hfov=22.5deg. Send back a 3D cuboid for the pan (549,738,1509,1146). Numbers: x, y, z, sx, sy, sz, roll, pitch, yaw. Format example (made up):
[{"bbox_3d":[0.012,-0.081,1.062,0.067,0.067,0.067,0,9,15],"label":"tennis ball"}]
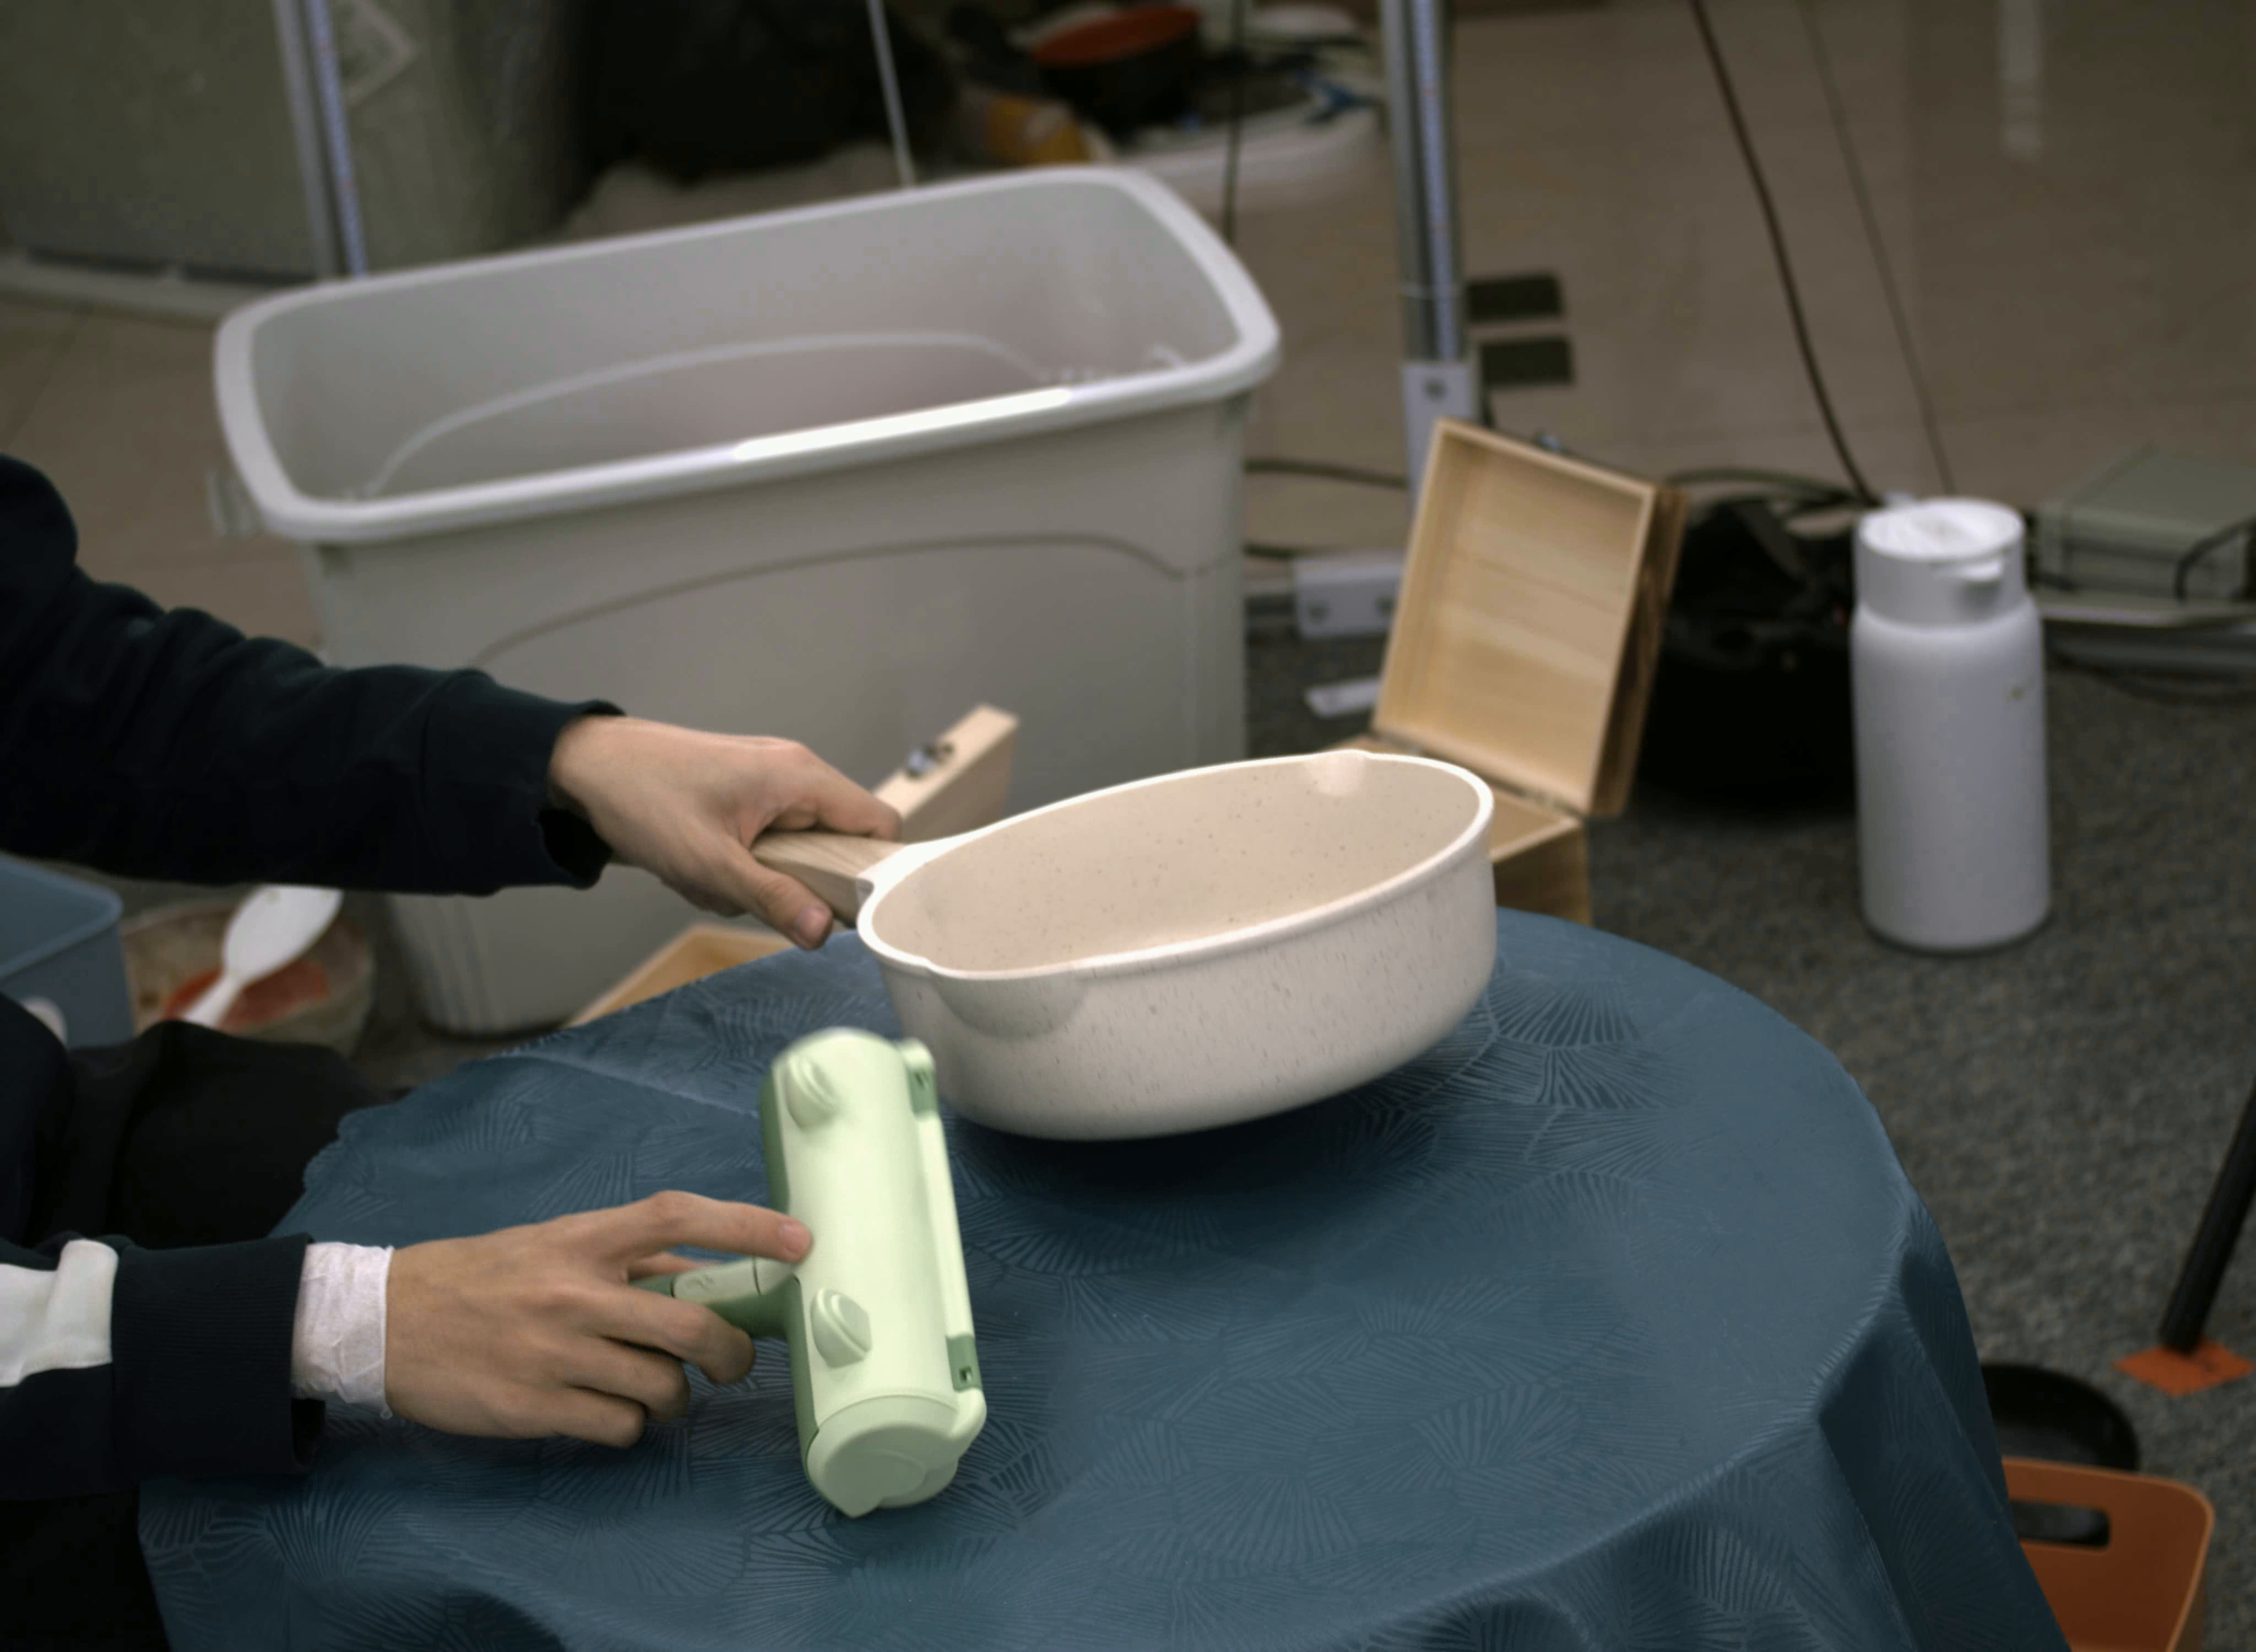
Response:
[{"bbox_3d":[-0.047,0.043,2.244,0.434,0.103,0.260,0,22,35],"label":"pan"}]

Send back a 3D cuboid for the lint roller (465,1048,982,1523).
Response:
[{"bbox_3d":[-0.149,0.162,2.001,0.183,0.084,0.195,-9,41,-1],"label":"lint roller"}]
